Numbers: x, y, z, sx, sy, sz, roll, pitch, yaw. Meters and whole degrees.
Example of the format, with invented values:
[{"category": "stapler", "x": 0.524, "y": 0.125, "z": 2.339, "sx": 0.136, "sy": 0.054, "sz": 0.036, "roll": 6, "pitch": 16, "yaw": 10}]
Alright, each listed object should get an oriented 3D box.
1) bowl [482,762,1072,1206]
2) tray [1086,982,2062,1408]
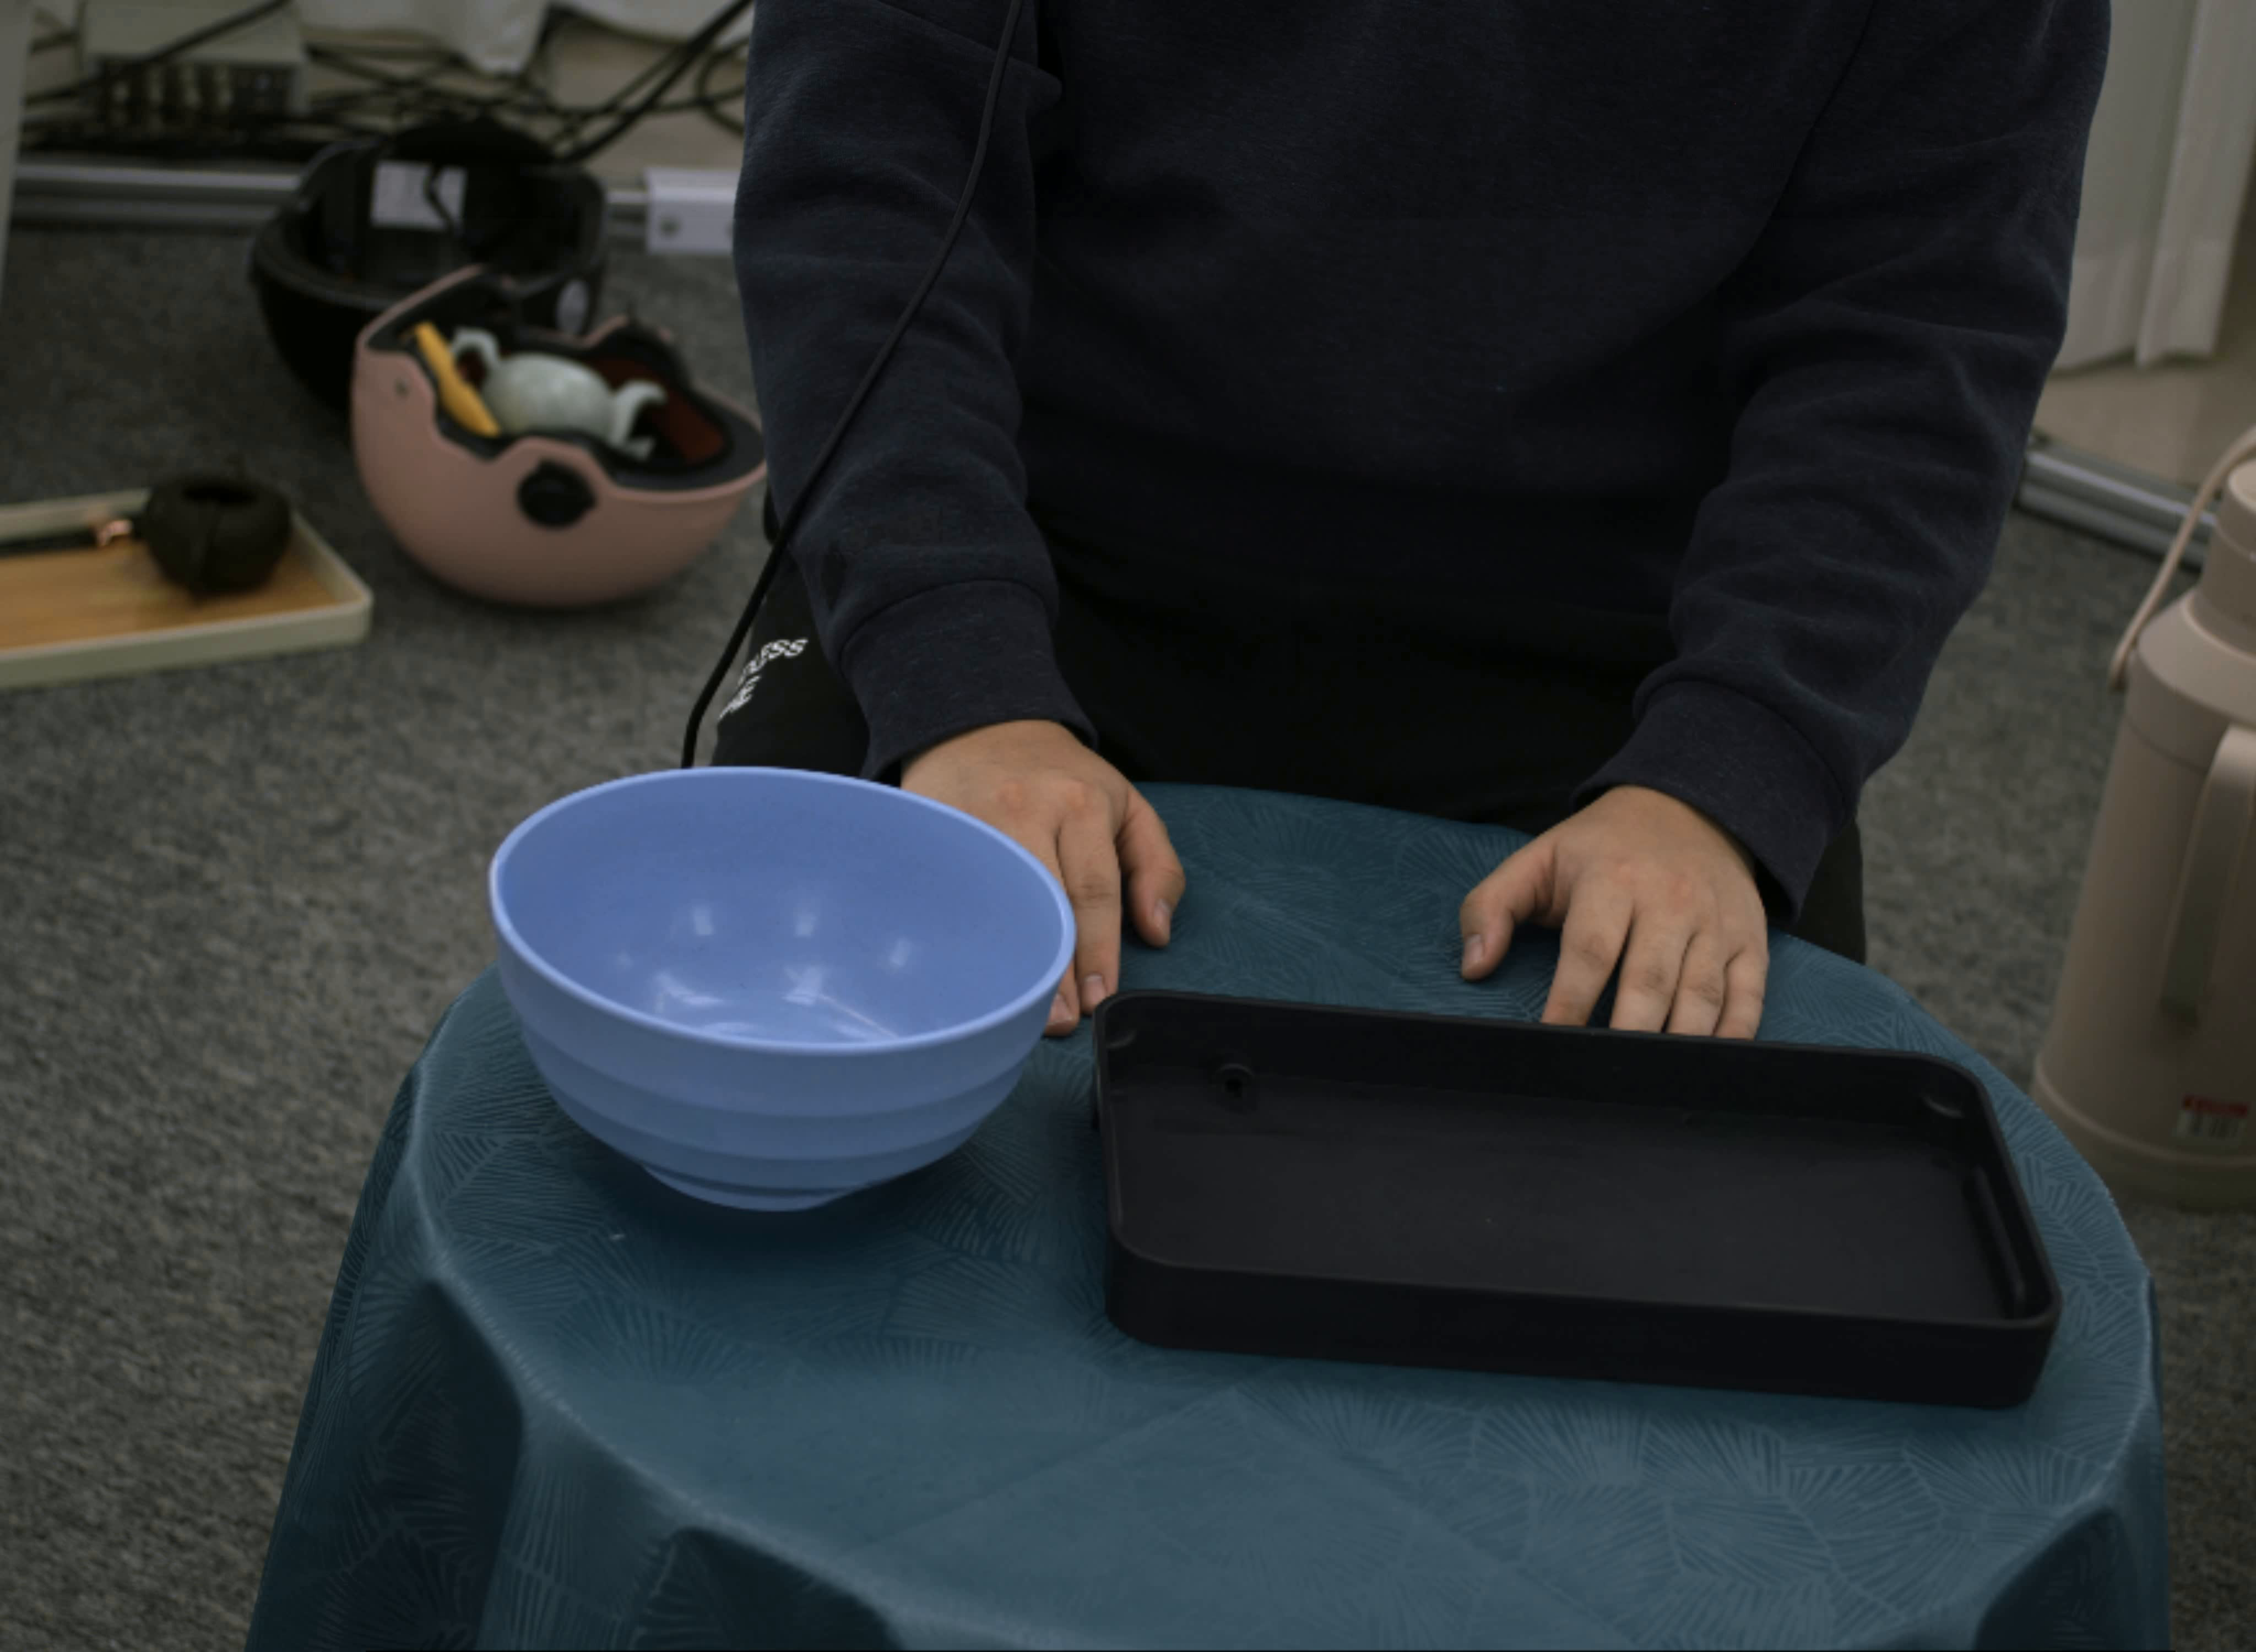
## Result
[{"category": "bowl", "x": -0.119, "y": 0.064, "z": 1.787, "sx": 0.196, "sy": 0.095, "sz": 0.198, "roll": 4, "pitch": 28, "yaw": -2}, {"category": "tray", "x": 0.144, "y": 0.123, "z": 1.800, "sx": 0.317, "sy": 0.037, "sz": 0.185, "roll": 5, "pitch": 27, "yaw": -4}]
